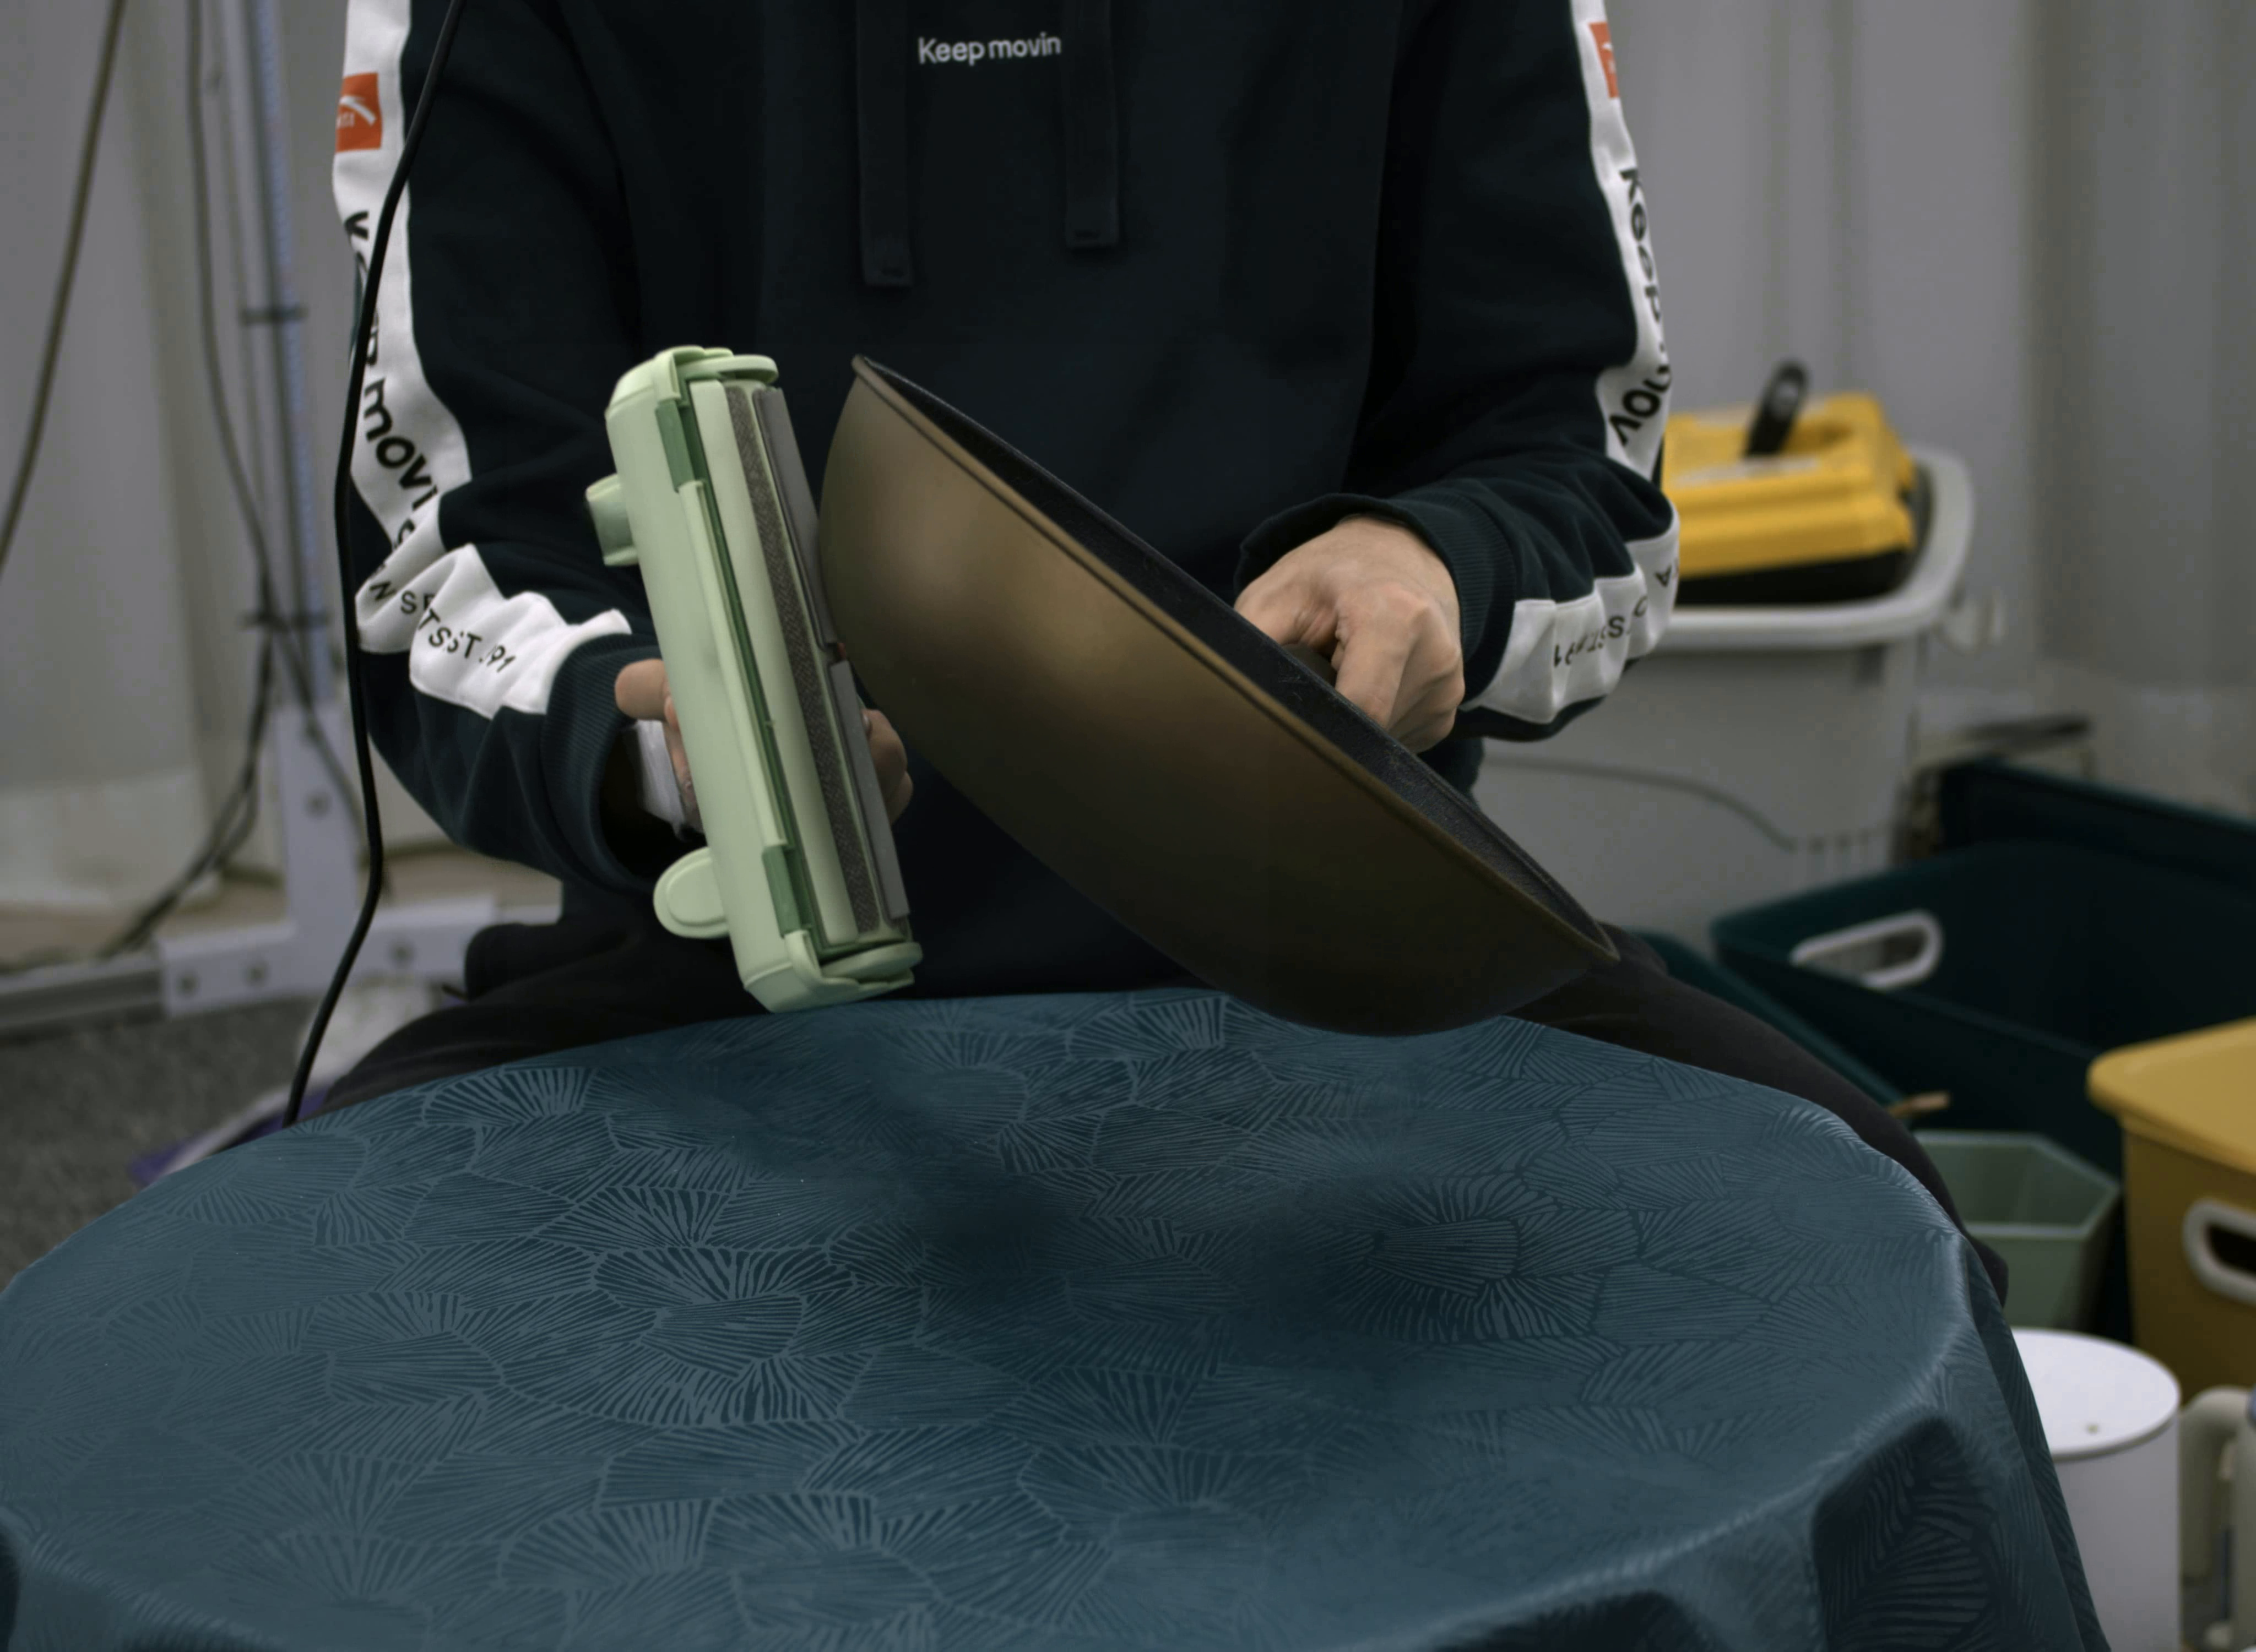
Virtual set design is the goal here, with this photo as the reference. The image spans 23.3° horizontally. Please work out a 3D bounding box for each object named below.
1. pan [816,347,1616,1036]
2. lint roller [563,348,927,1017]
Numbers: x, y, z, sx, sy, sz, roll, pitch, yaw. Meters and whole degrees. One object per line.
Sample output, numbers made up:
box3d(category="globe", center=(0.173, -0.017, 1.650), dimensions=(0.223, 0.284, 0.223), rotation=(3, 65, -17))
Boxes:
box3d(category="pan", center=(0.022, -0.022, 1.699), dimensions=(0.289, 0.087, 0.462), rotation=(39, 4, 7))
box3d(category="lint roller", center=(-0.118, -0.030, 1.671), dimensions=(0.082, 0.200, 0.182), rotation=(-13, -11, -8))
